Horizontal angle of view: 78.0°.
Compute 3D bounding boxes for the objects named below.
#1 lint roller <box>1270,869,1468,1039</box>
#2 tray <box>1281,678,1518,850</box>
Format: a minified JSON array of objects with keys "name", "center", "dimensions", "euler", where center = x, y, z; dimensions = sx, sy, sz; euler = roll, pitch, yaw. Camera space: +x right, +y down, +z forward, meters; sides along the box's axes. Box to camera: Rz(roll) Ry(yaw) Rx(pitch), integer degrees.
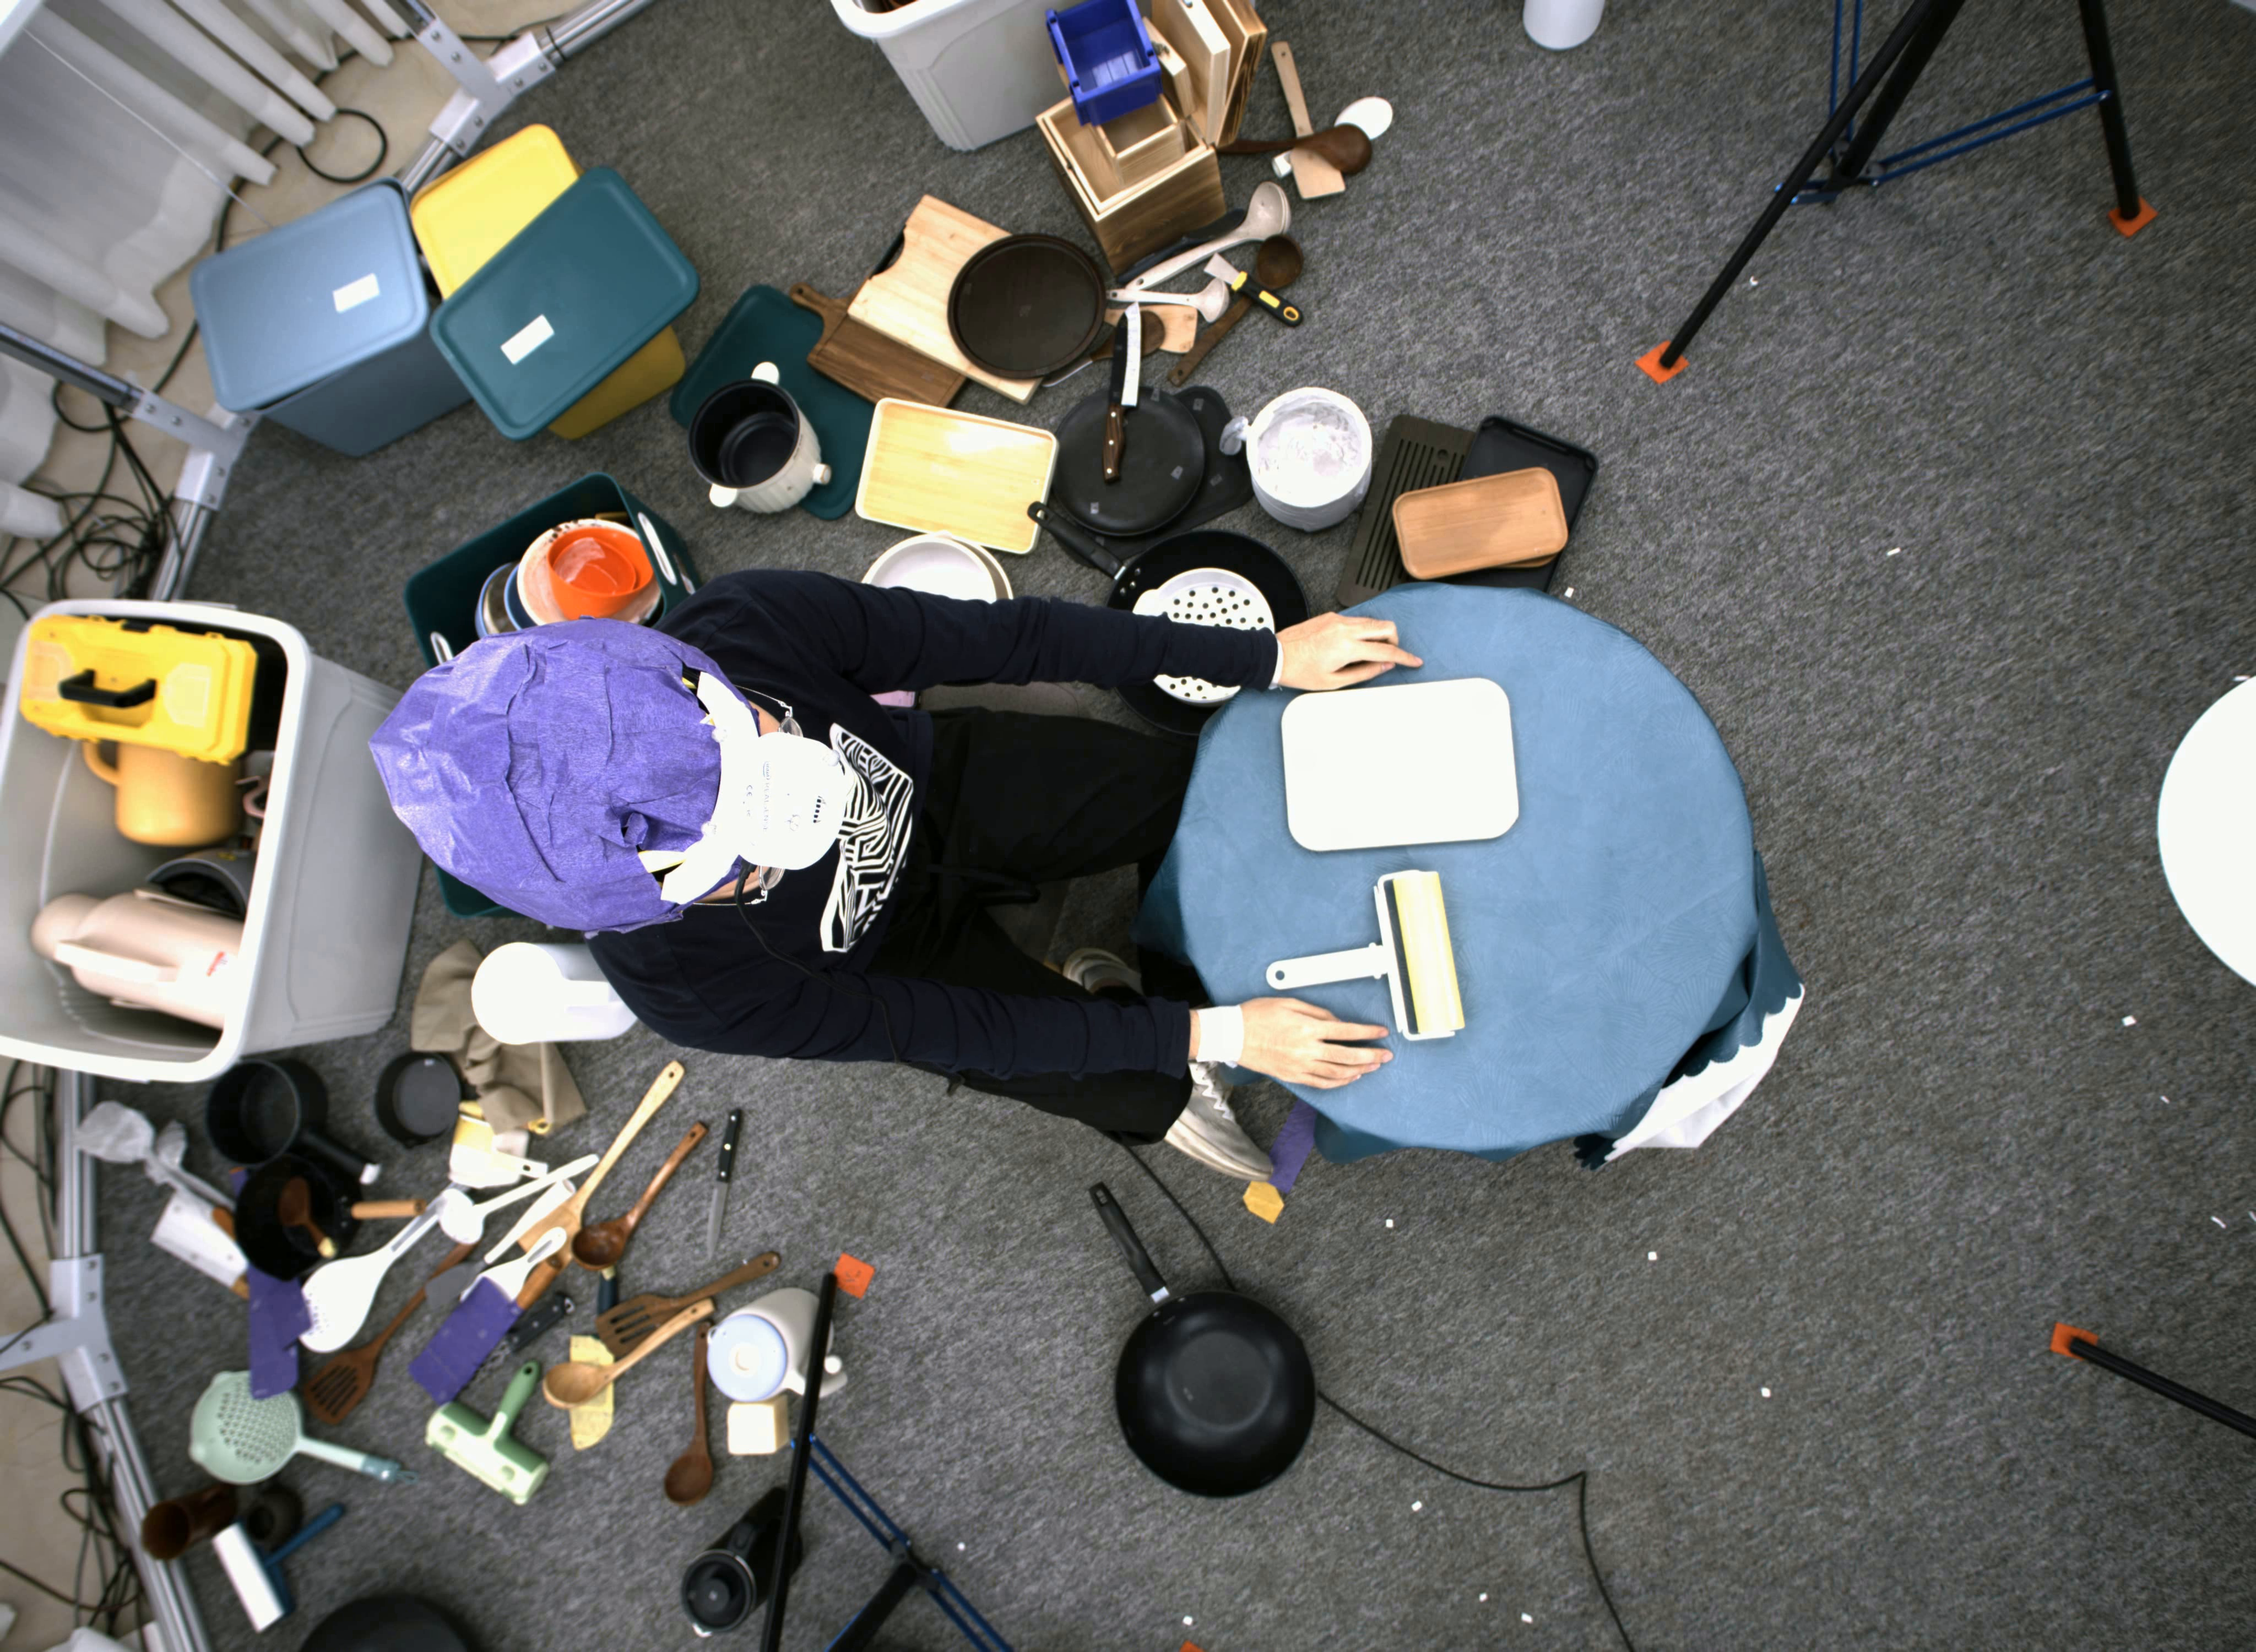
[{"name":"lint roller","center":[0.242,0.143,1.436],"dimensions":[0.193,0.051,0.173],"euler":[-11,84,6]},{"name":"tray","center":[0.286,-0.066,1.456],"dimensions":[0.241,0.017,0.170],"euler":[-5,85,11]}]
